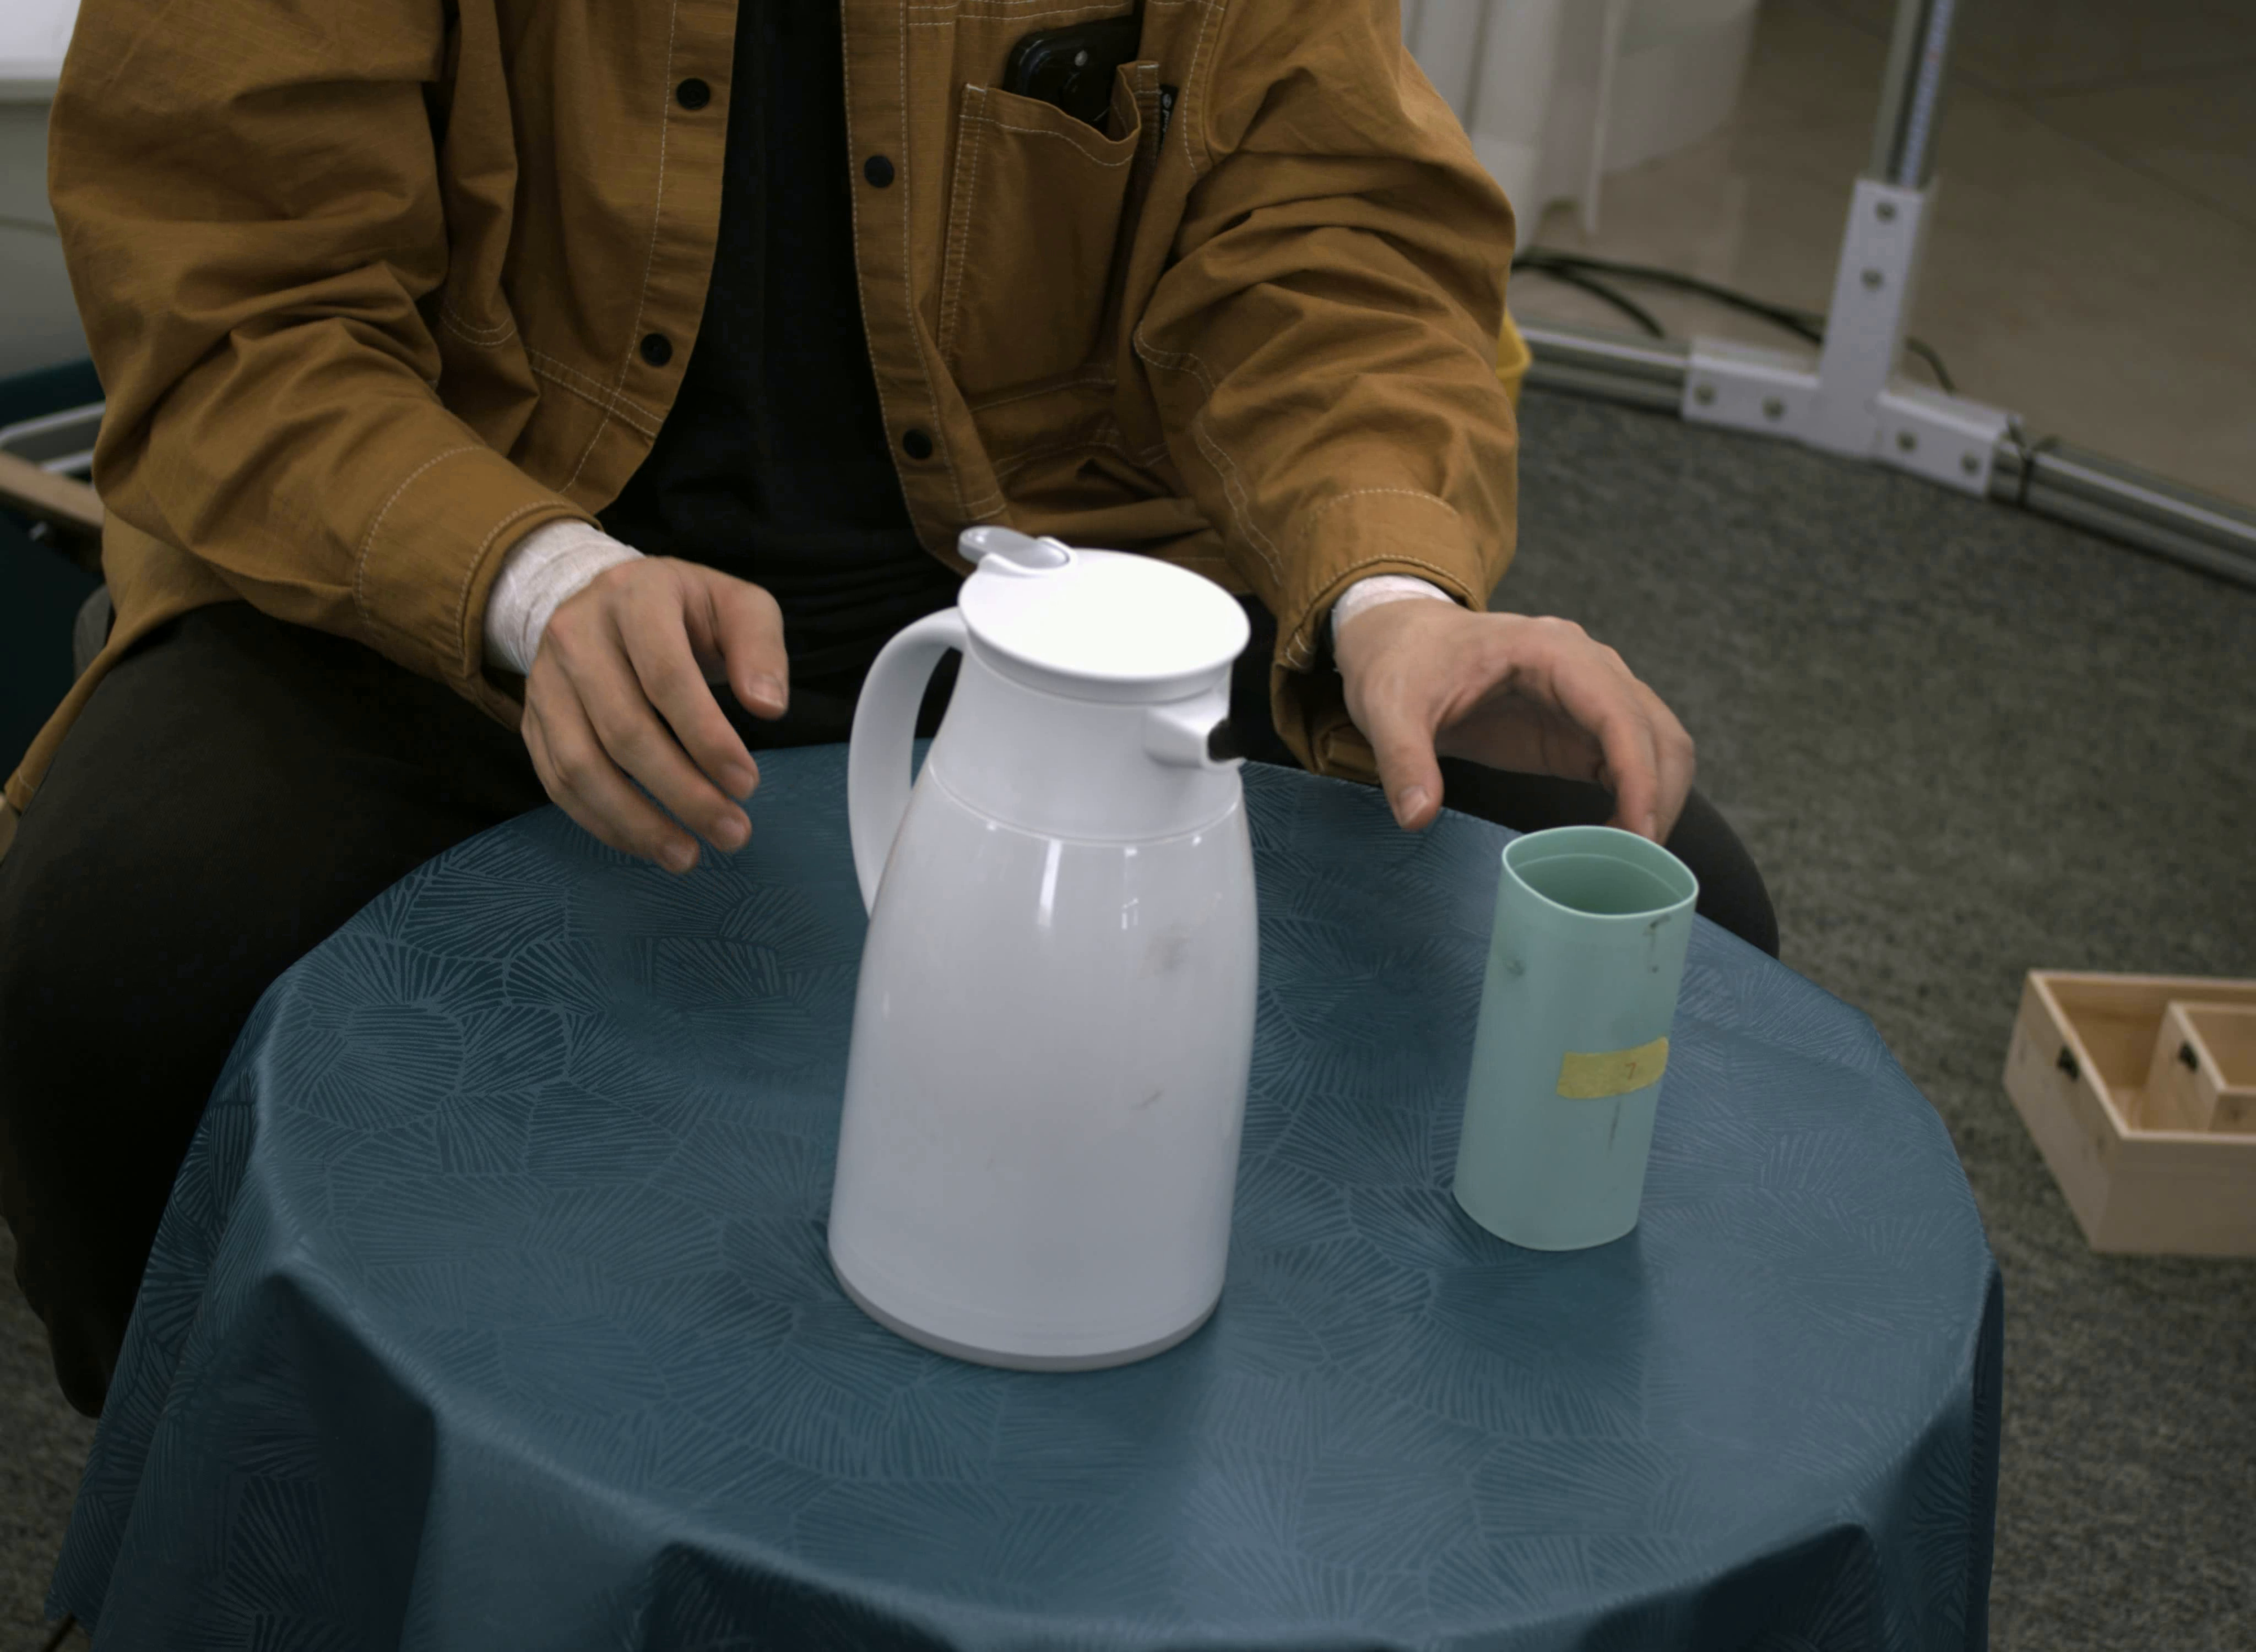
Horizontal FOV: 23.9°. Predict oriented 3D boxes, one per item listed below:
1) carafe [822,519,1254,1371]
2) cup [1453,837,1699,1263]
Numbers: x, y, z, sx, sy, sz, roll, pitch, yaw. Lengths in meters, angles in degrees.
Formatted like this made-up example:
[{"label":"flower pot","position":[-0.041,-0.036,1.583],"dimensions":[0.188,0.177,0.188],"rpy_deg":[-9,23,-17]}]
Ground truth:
[{"label":"carafe","position":[-0.035,0.028,1.713],"dimensions":[0.132,0.248,0.169],"rpy_deg":[-17,34,-39]},{"label":"cup","position":[0.150,0.075,1.798],"dimensions":[0.066,0.132,0.067],"rpy_deg":[6,27,-3]}]
